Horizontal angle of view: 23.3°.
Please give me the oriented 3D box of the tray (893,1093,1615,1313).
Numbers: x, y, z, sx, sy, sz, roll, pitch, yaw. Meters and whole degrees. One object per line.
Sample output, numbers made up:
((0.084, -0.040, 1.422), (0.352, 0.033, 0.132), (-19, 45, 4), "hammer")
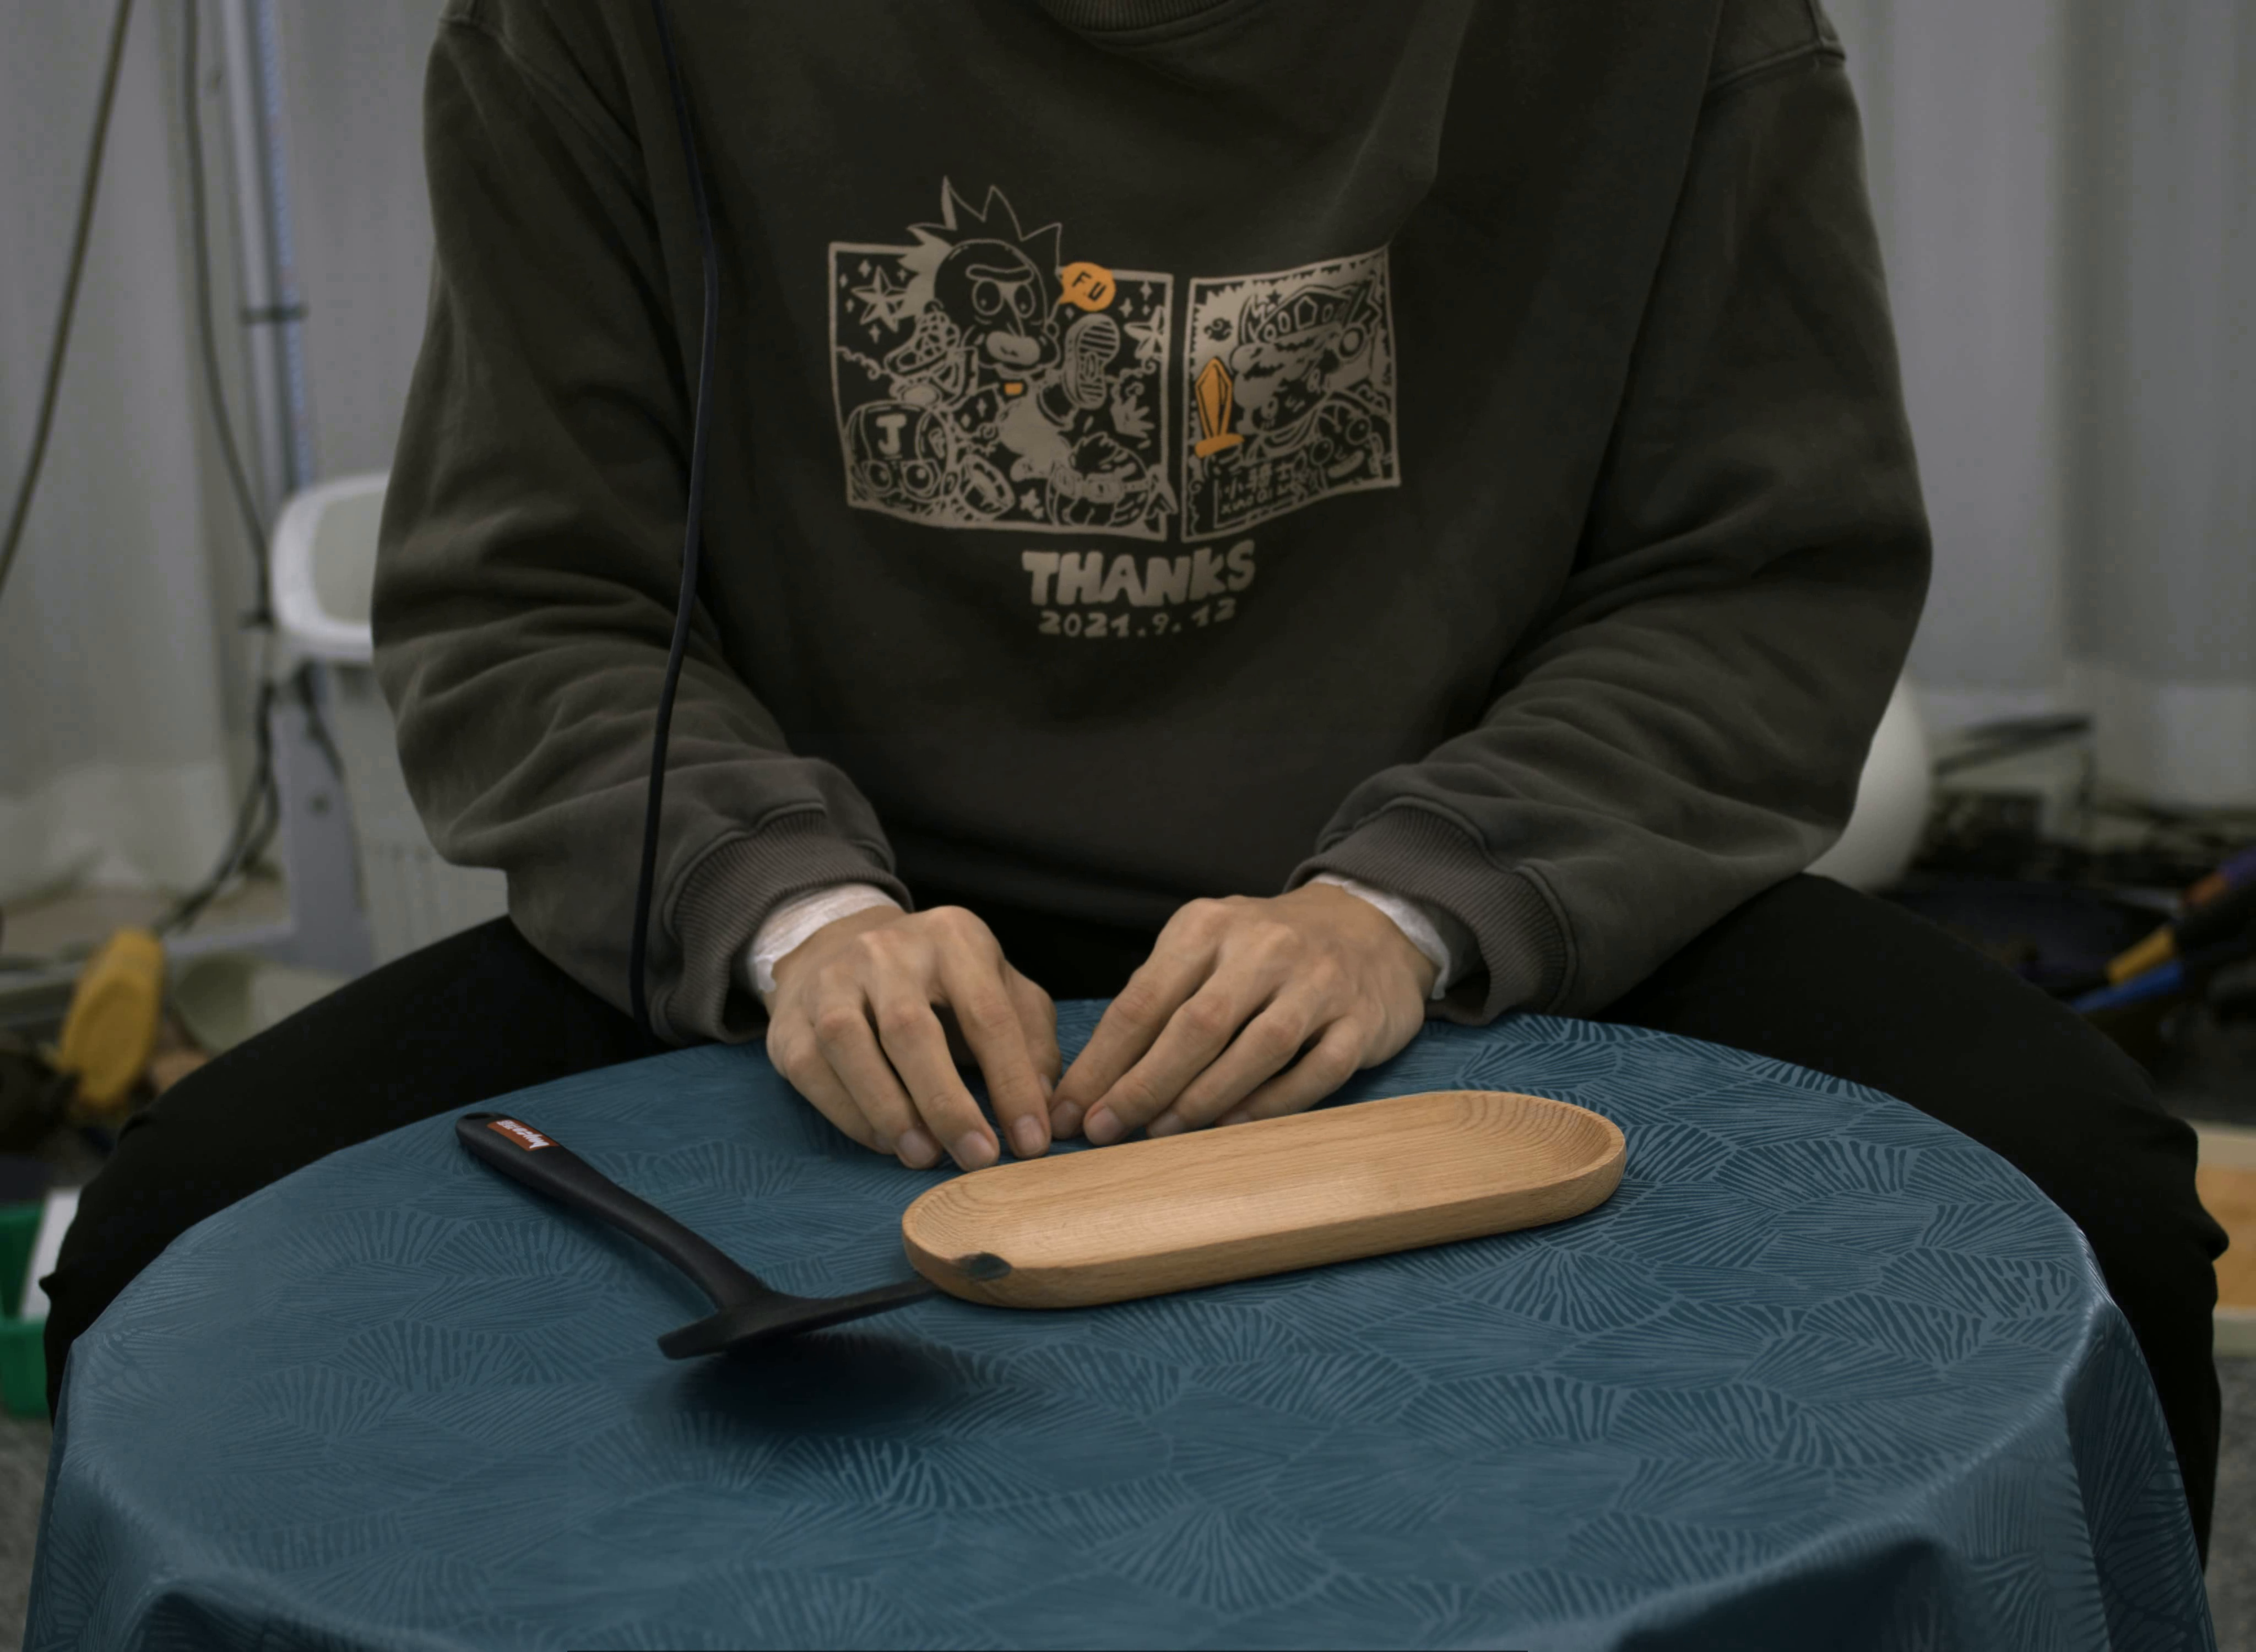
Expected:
((0.040, 0.116, 1.681), (0.230, 0.020, 0.102), (-10, 16, -19), "tray")

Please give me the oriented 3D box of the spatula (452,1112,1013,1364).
((-0.144, 0.118, 1.667), (0.099, 0.040, 0.328), (-9, 16, -26), "spatula")
